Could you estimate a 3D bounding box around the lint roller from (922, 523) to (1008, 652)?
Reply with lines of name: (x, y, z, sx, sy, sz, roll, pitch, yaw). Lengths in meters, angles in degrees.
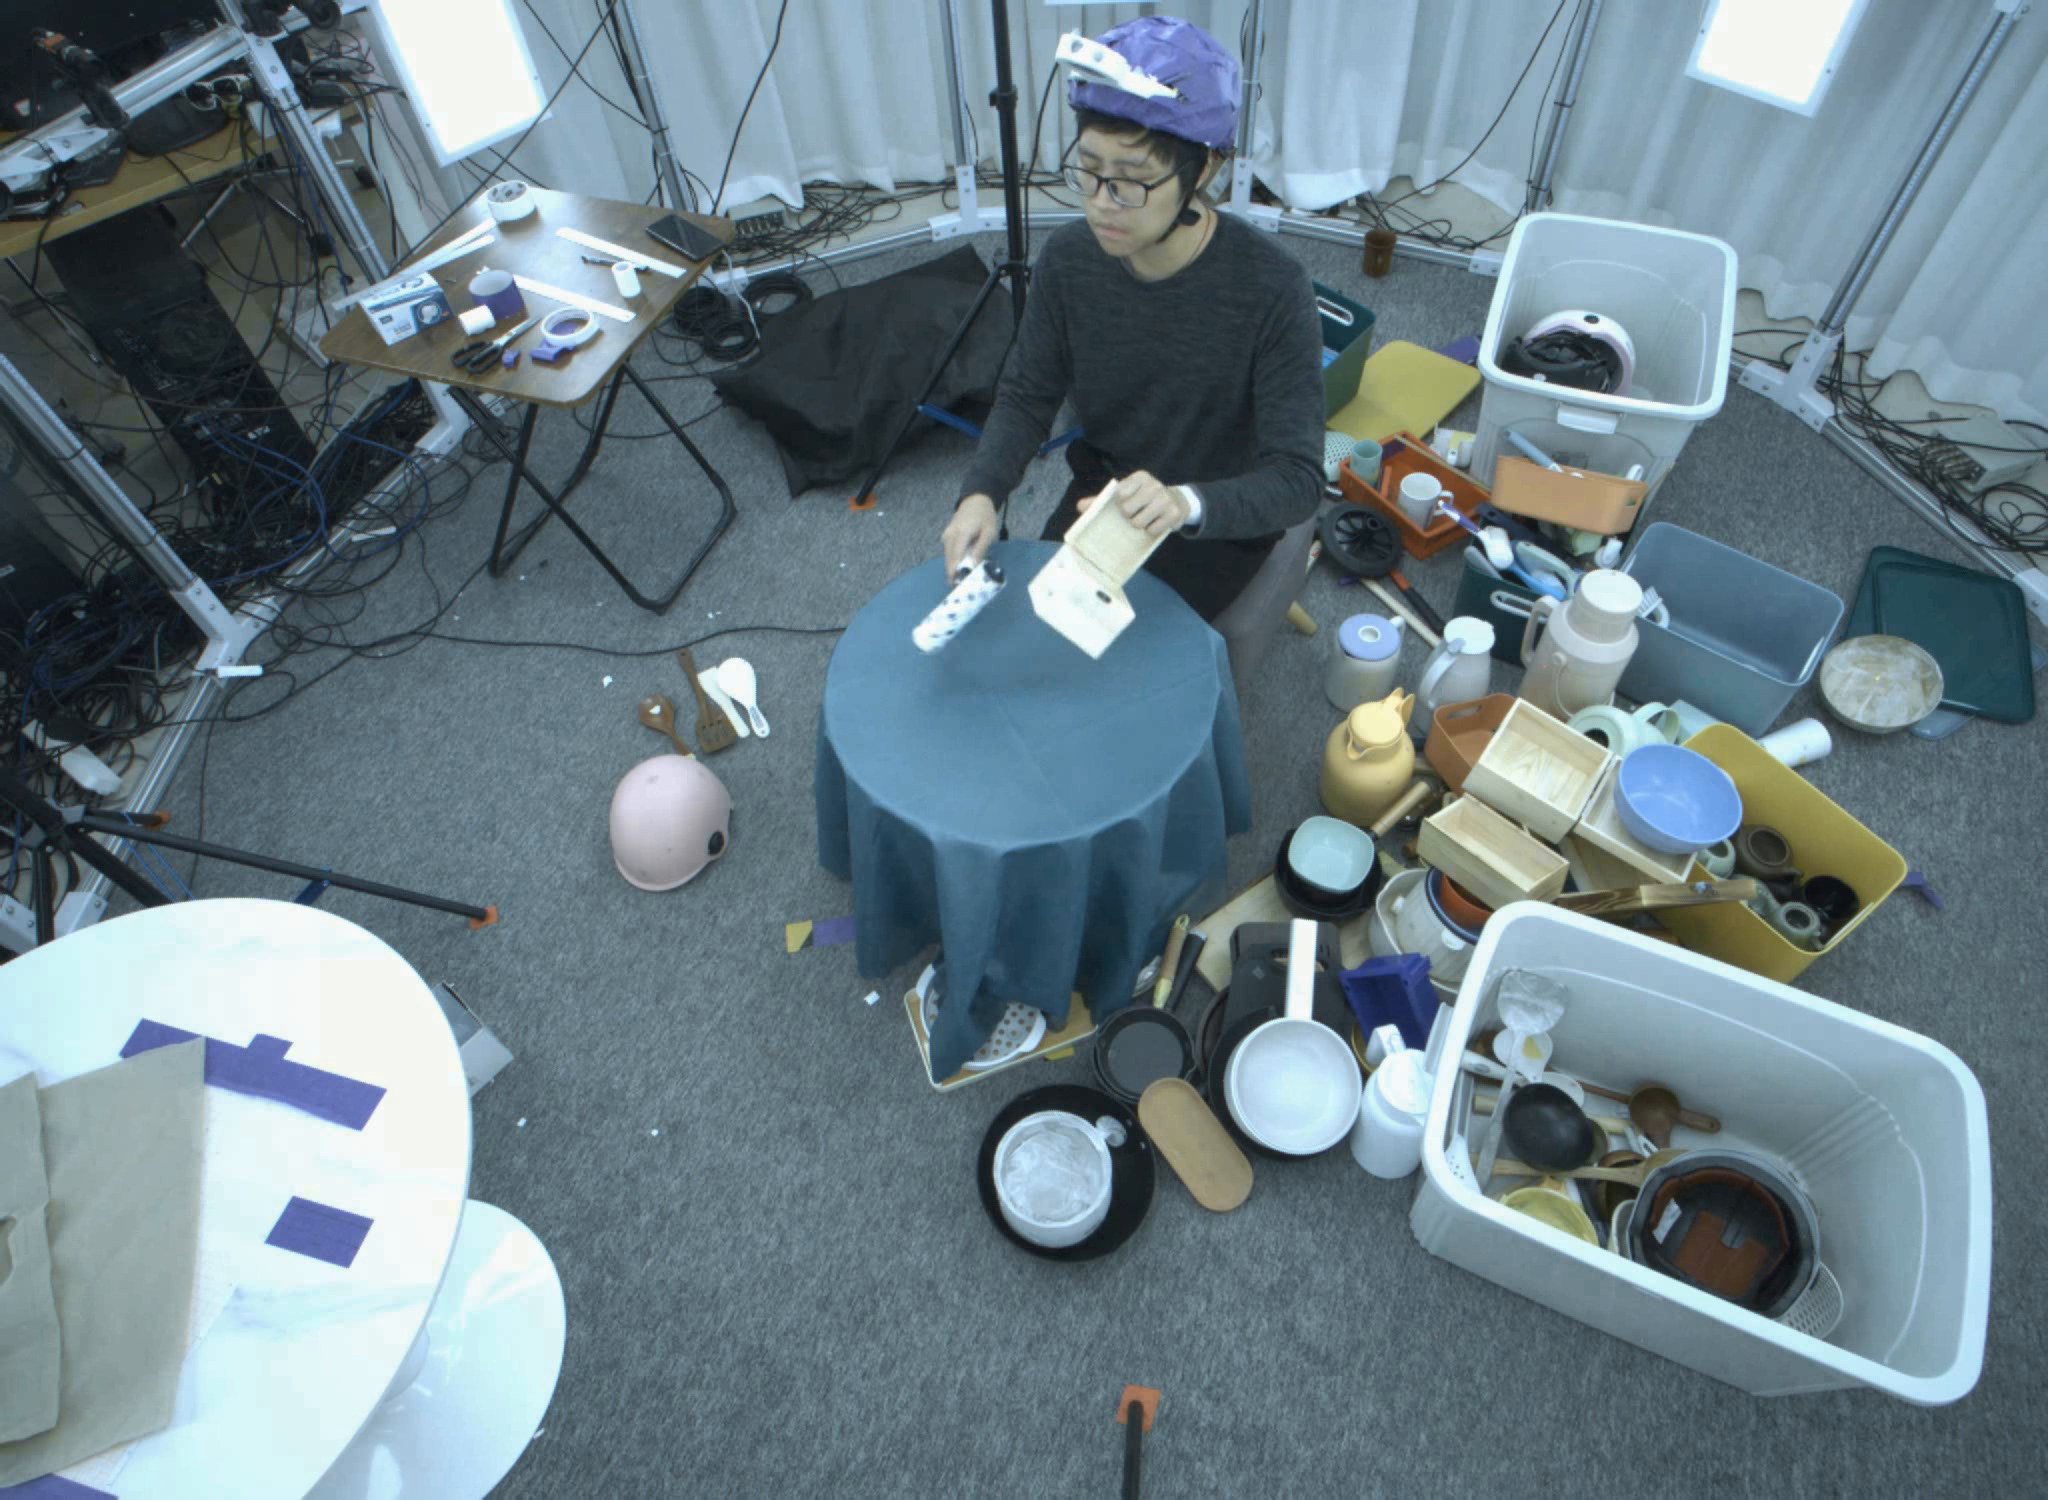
lint roller: (-0.087, -0.274, 1.843, 0.051, 0.175, 0.244, 28, 35, -23)

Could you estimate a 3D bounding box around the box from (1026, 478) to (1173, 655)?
box: (0.104, -0.238, 1.580, 0.184, 0.104, 0.132, -45, 26, 15)
